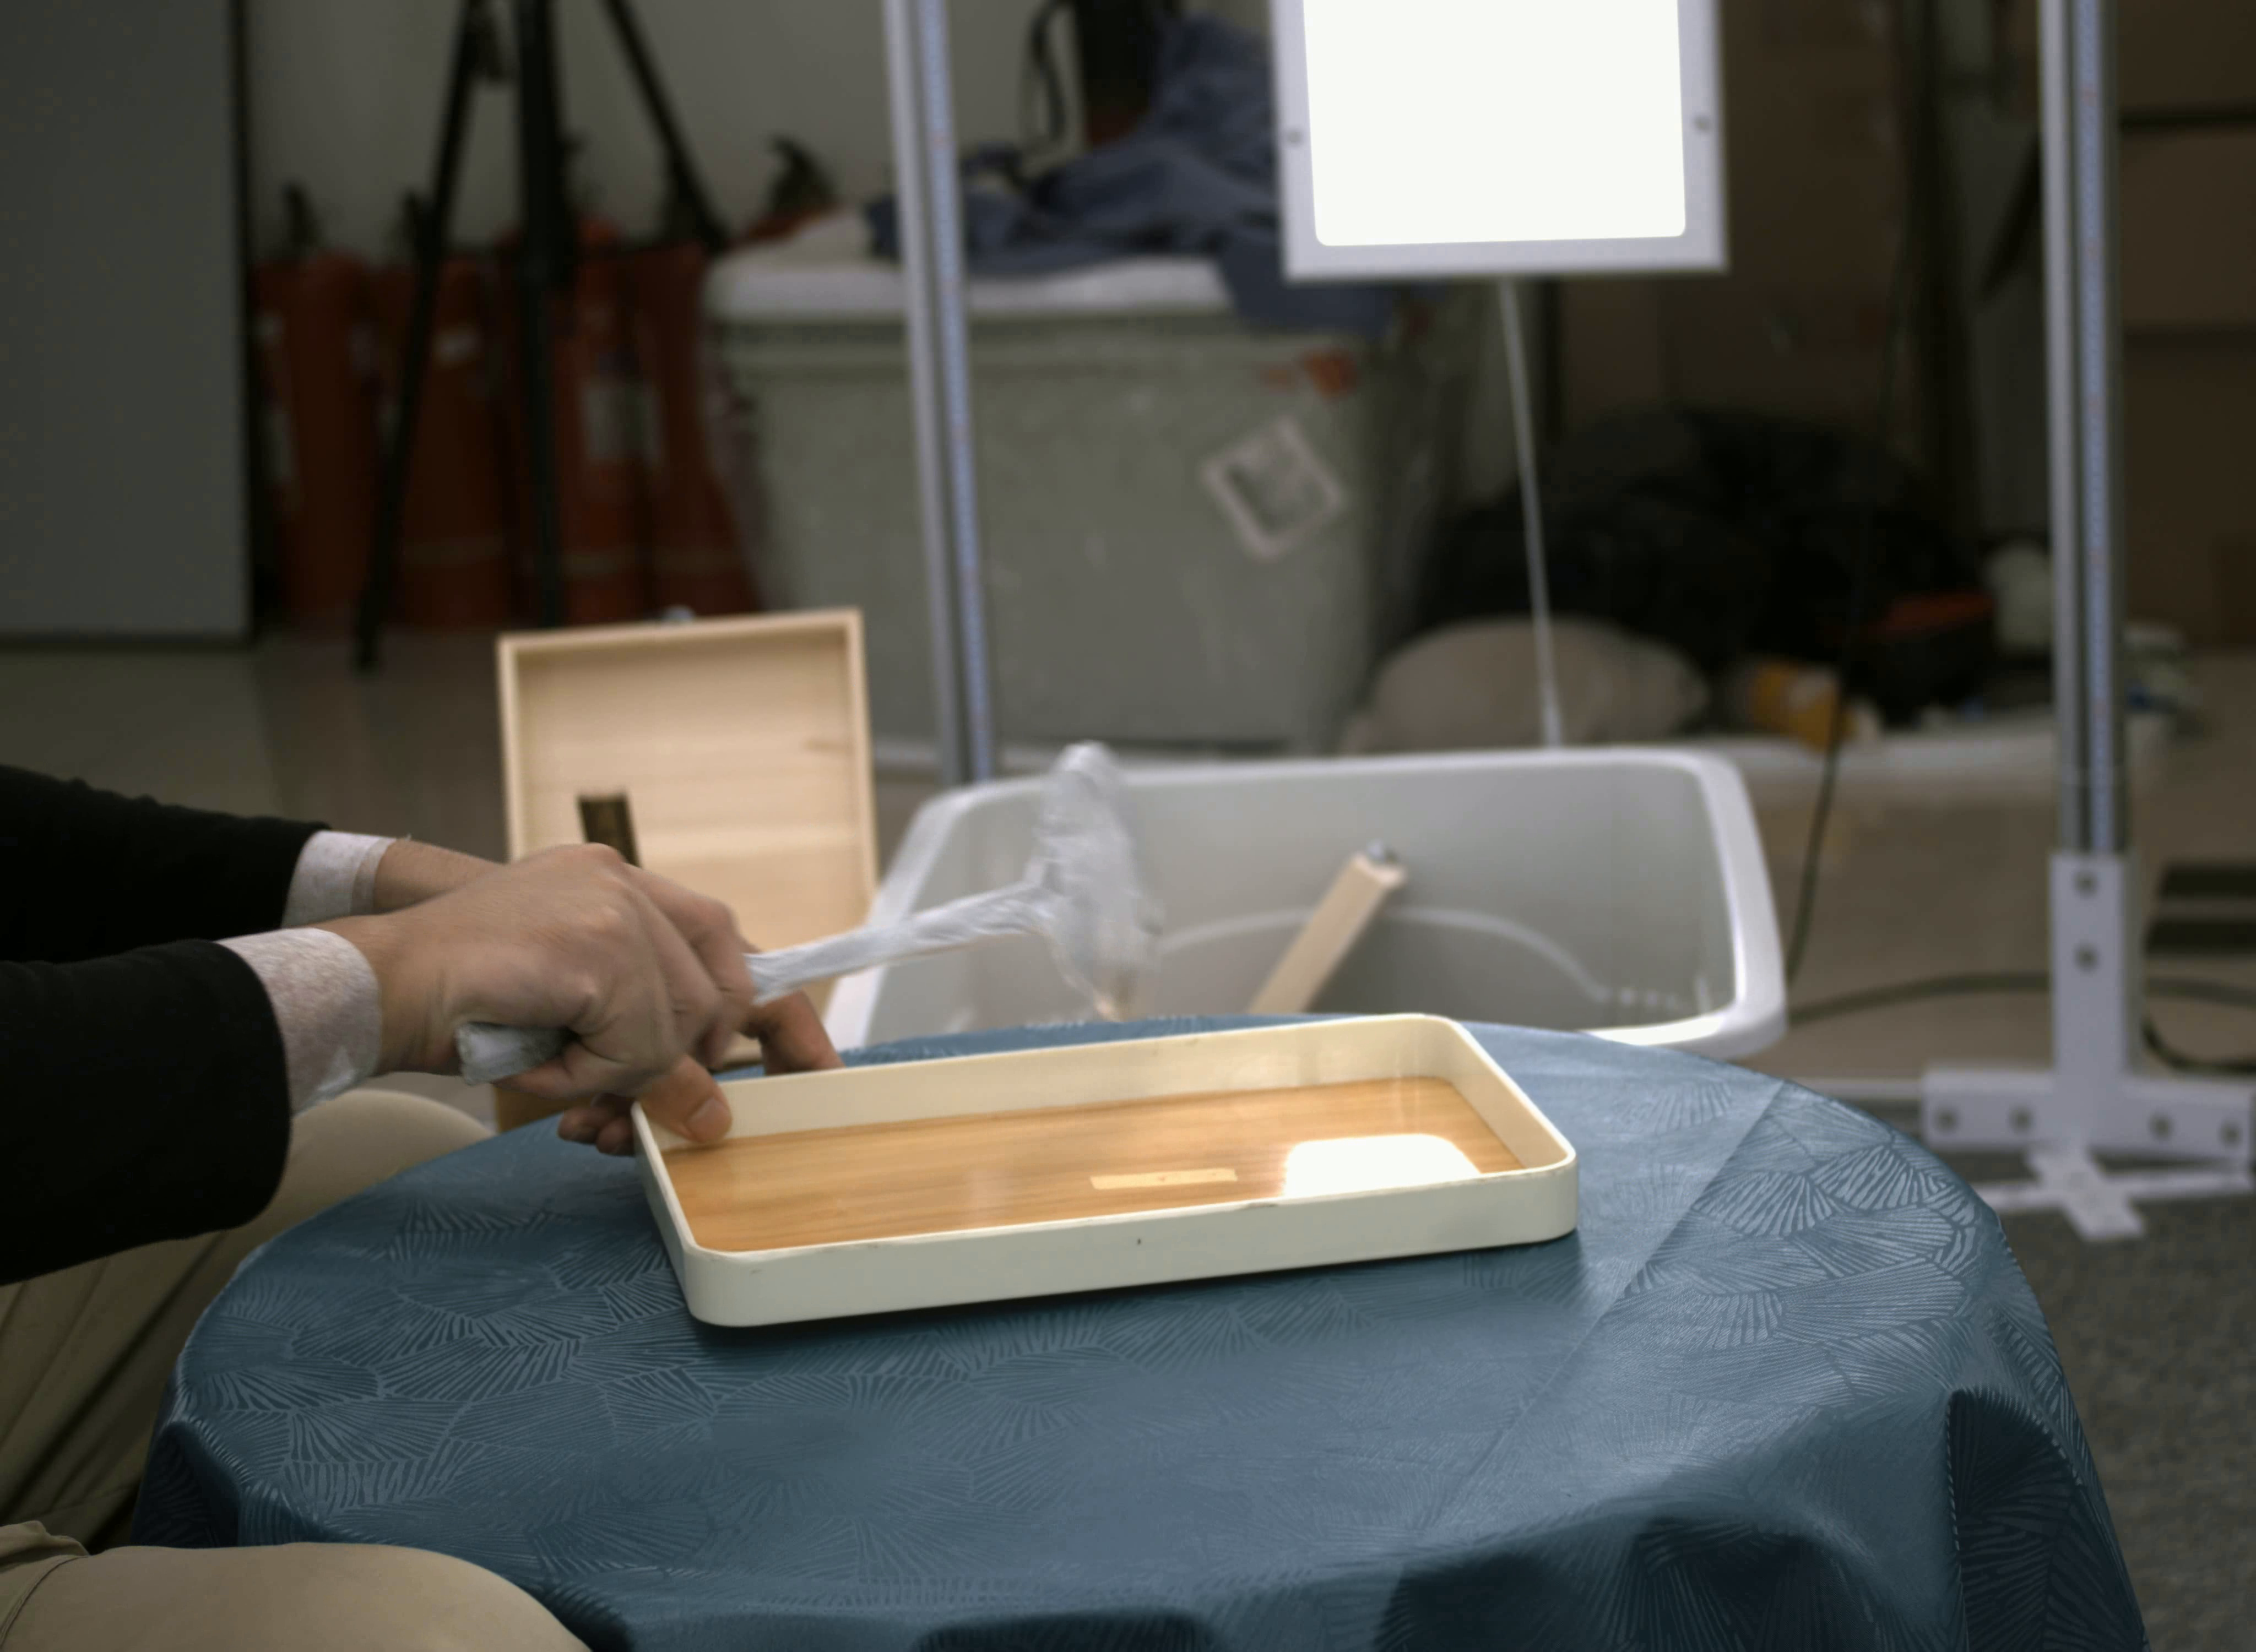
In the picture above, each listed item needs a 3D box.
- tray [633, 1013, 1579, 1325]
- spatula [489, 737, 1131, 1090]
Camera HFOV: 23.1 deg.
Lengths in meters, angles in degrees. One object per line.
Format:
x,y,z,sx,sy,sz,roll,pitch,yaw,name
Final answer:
-0.011,0.114,1.872,0.297,0.027,0.192,-5,15,-8,tray
-0.098,0.041,1.784,0.046,0.099,0.355,-9,4,40,spatula
